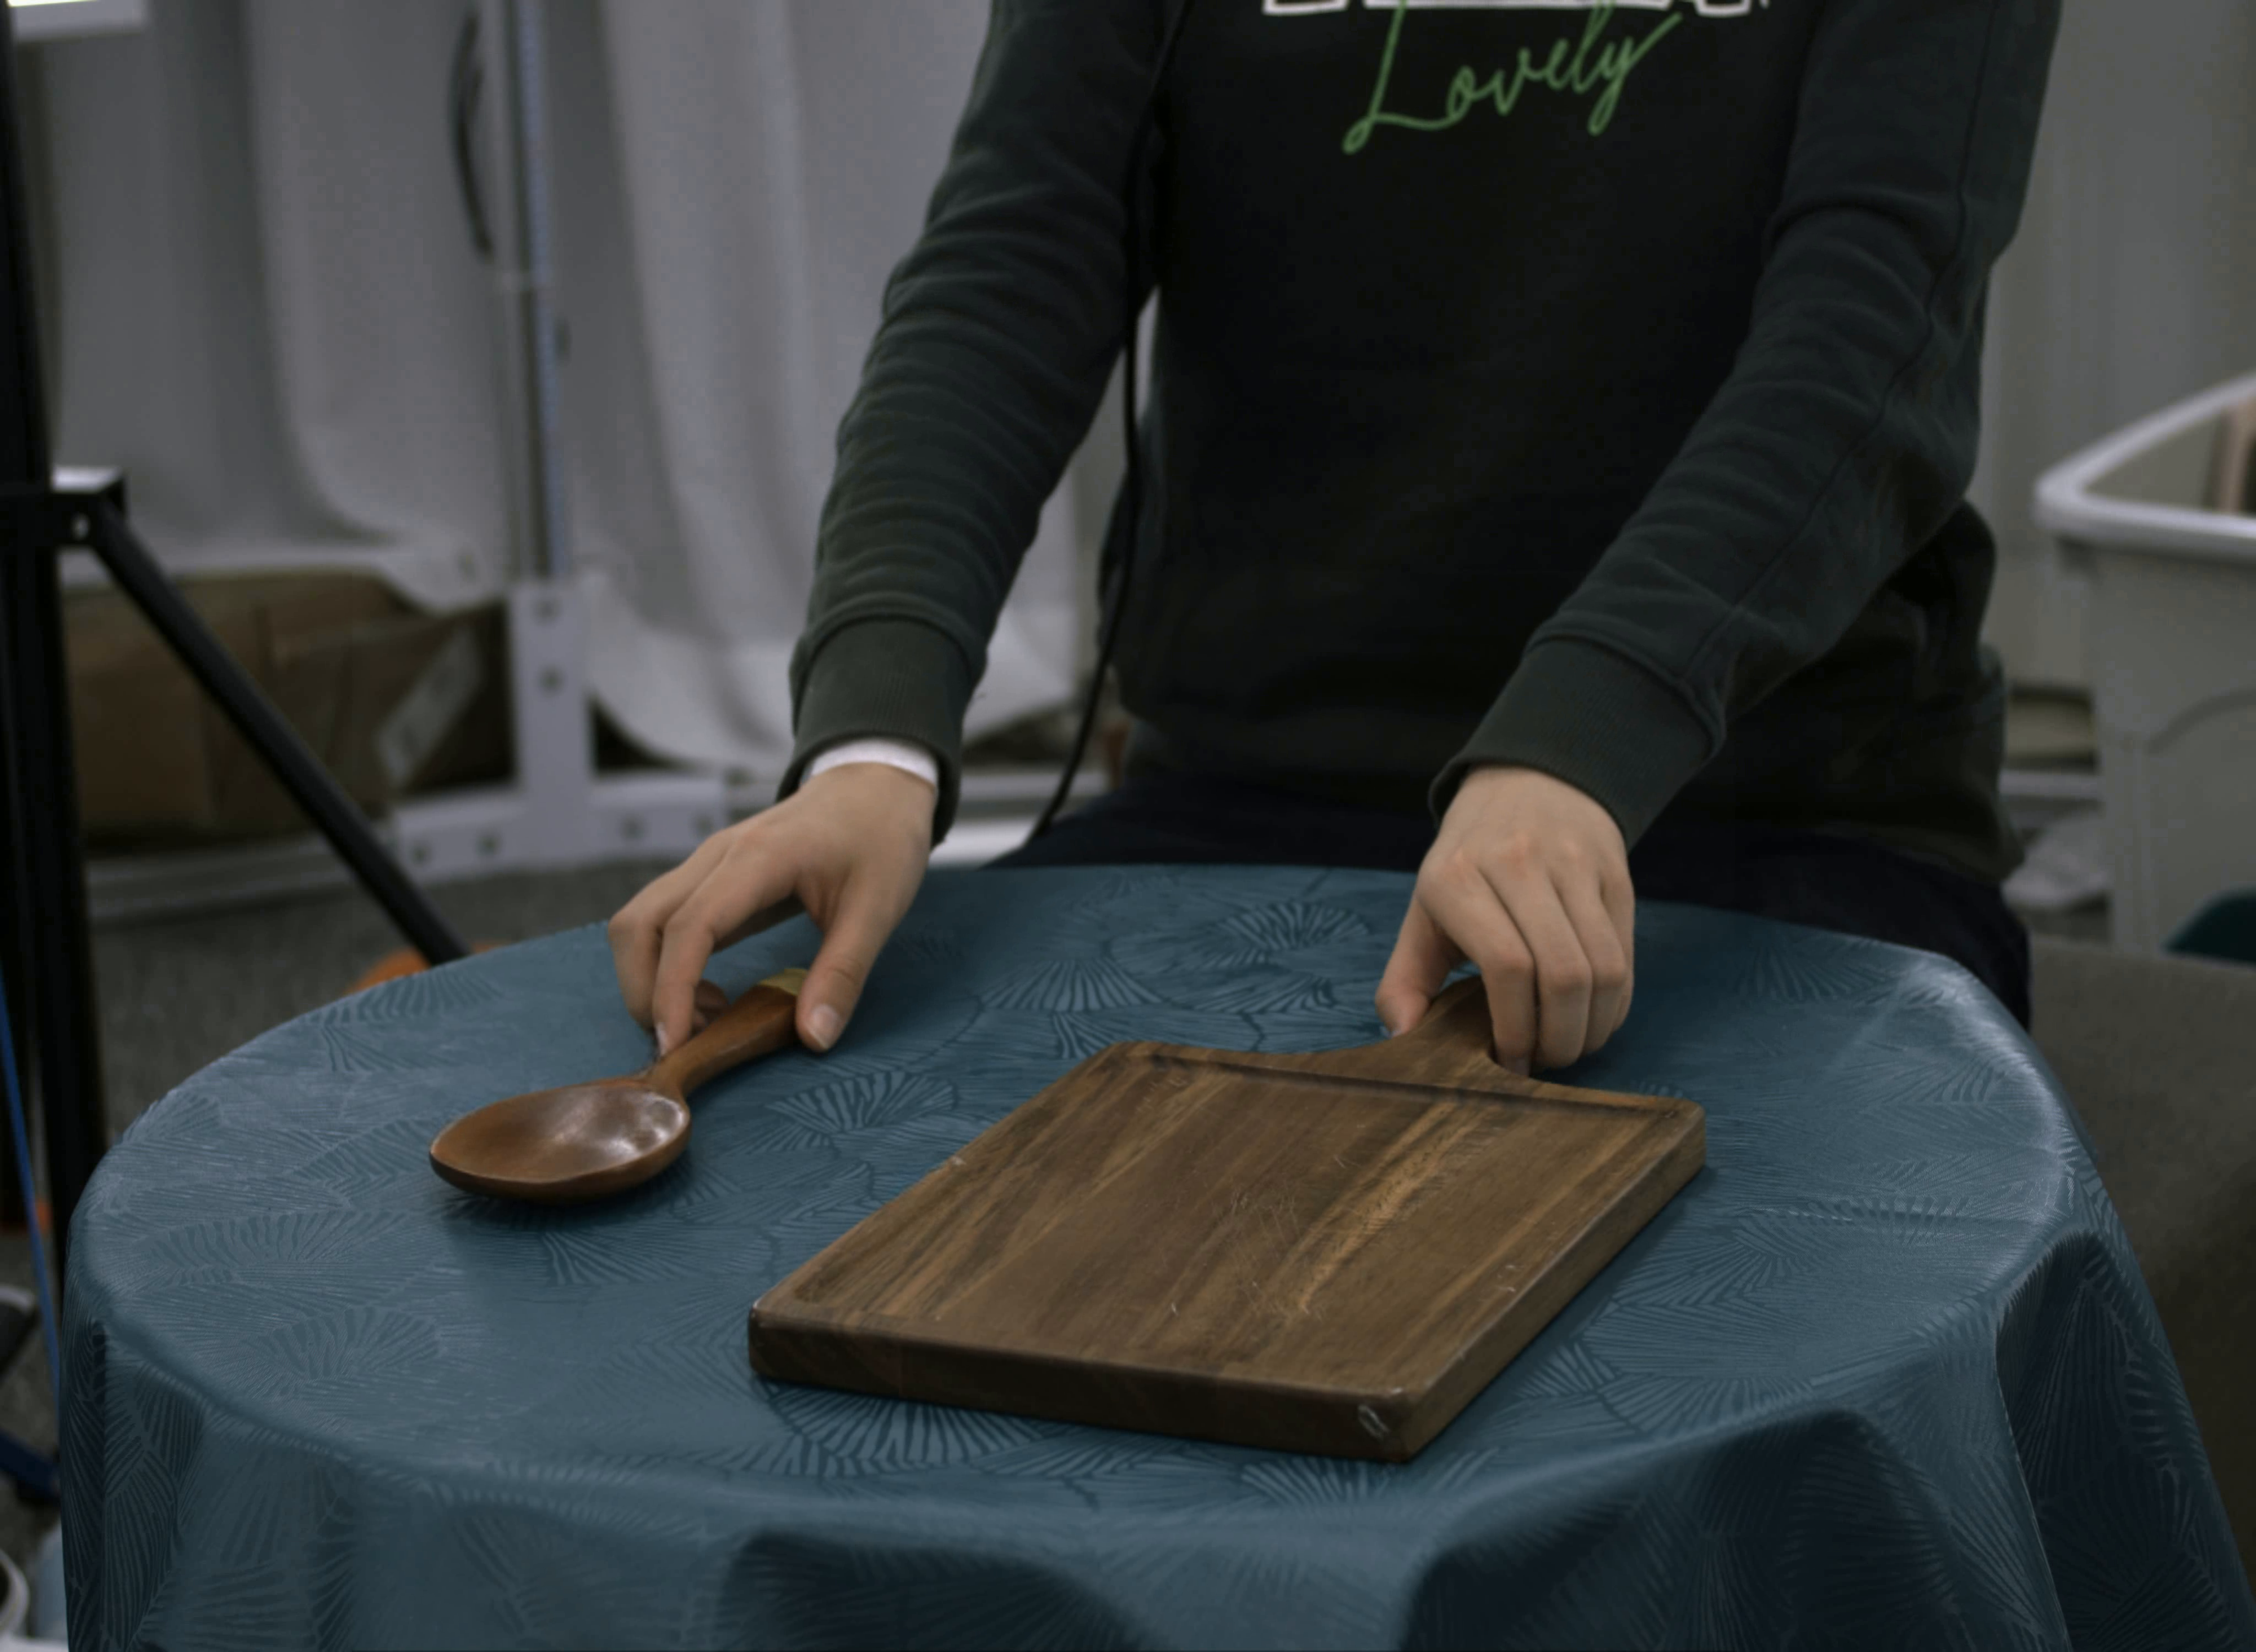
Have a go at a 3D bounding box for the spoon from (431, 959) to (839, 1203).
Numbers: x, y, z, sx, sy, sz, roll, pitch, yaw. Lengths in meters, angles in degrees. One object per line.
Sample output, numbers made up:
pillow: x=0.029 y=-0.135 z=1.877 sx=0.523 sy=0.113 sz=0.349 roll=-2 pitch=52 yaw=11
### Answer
spoon: x=-0.142 y=0.080 z=1.647 sx=0.076 sy=0.017 sz=0.213 roll=2 pitch=17 yaw=24

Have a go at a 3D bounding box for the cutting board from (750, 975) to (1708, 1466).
cutting board: x=0.054 y=0.103 z=1.533 sx=0.204 sy=0.023 sz=0.347 roll=4 pitch=17 yaw=25
